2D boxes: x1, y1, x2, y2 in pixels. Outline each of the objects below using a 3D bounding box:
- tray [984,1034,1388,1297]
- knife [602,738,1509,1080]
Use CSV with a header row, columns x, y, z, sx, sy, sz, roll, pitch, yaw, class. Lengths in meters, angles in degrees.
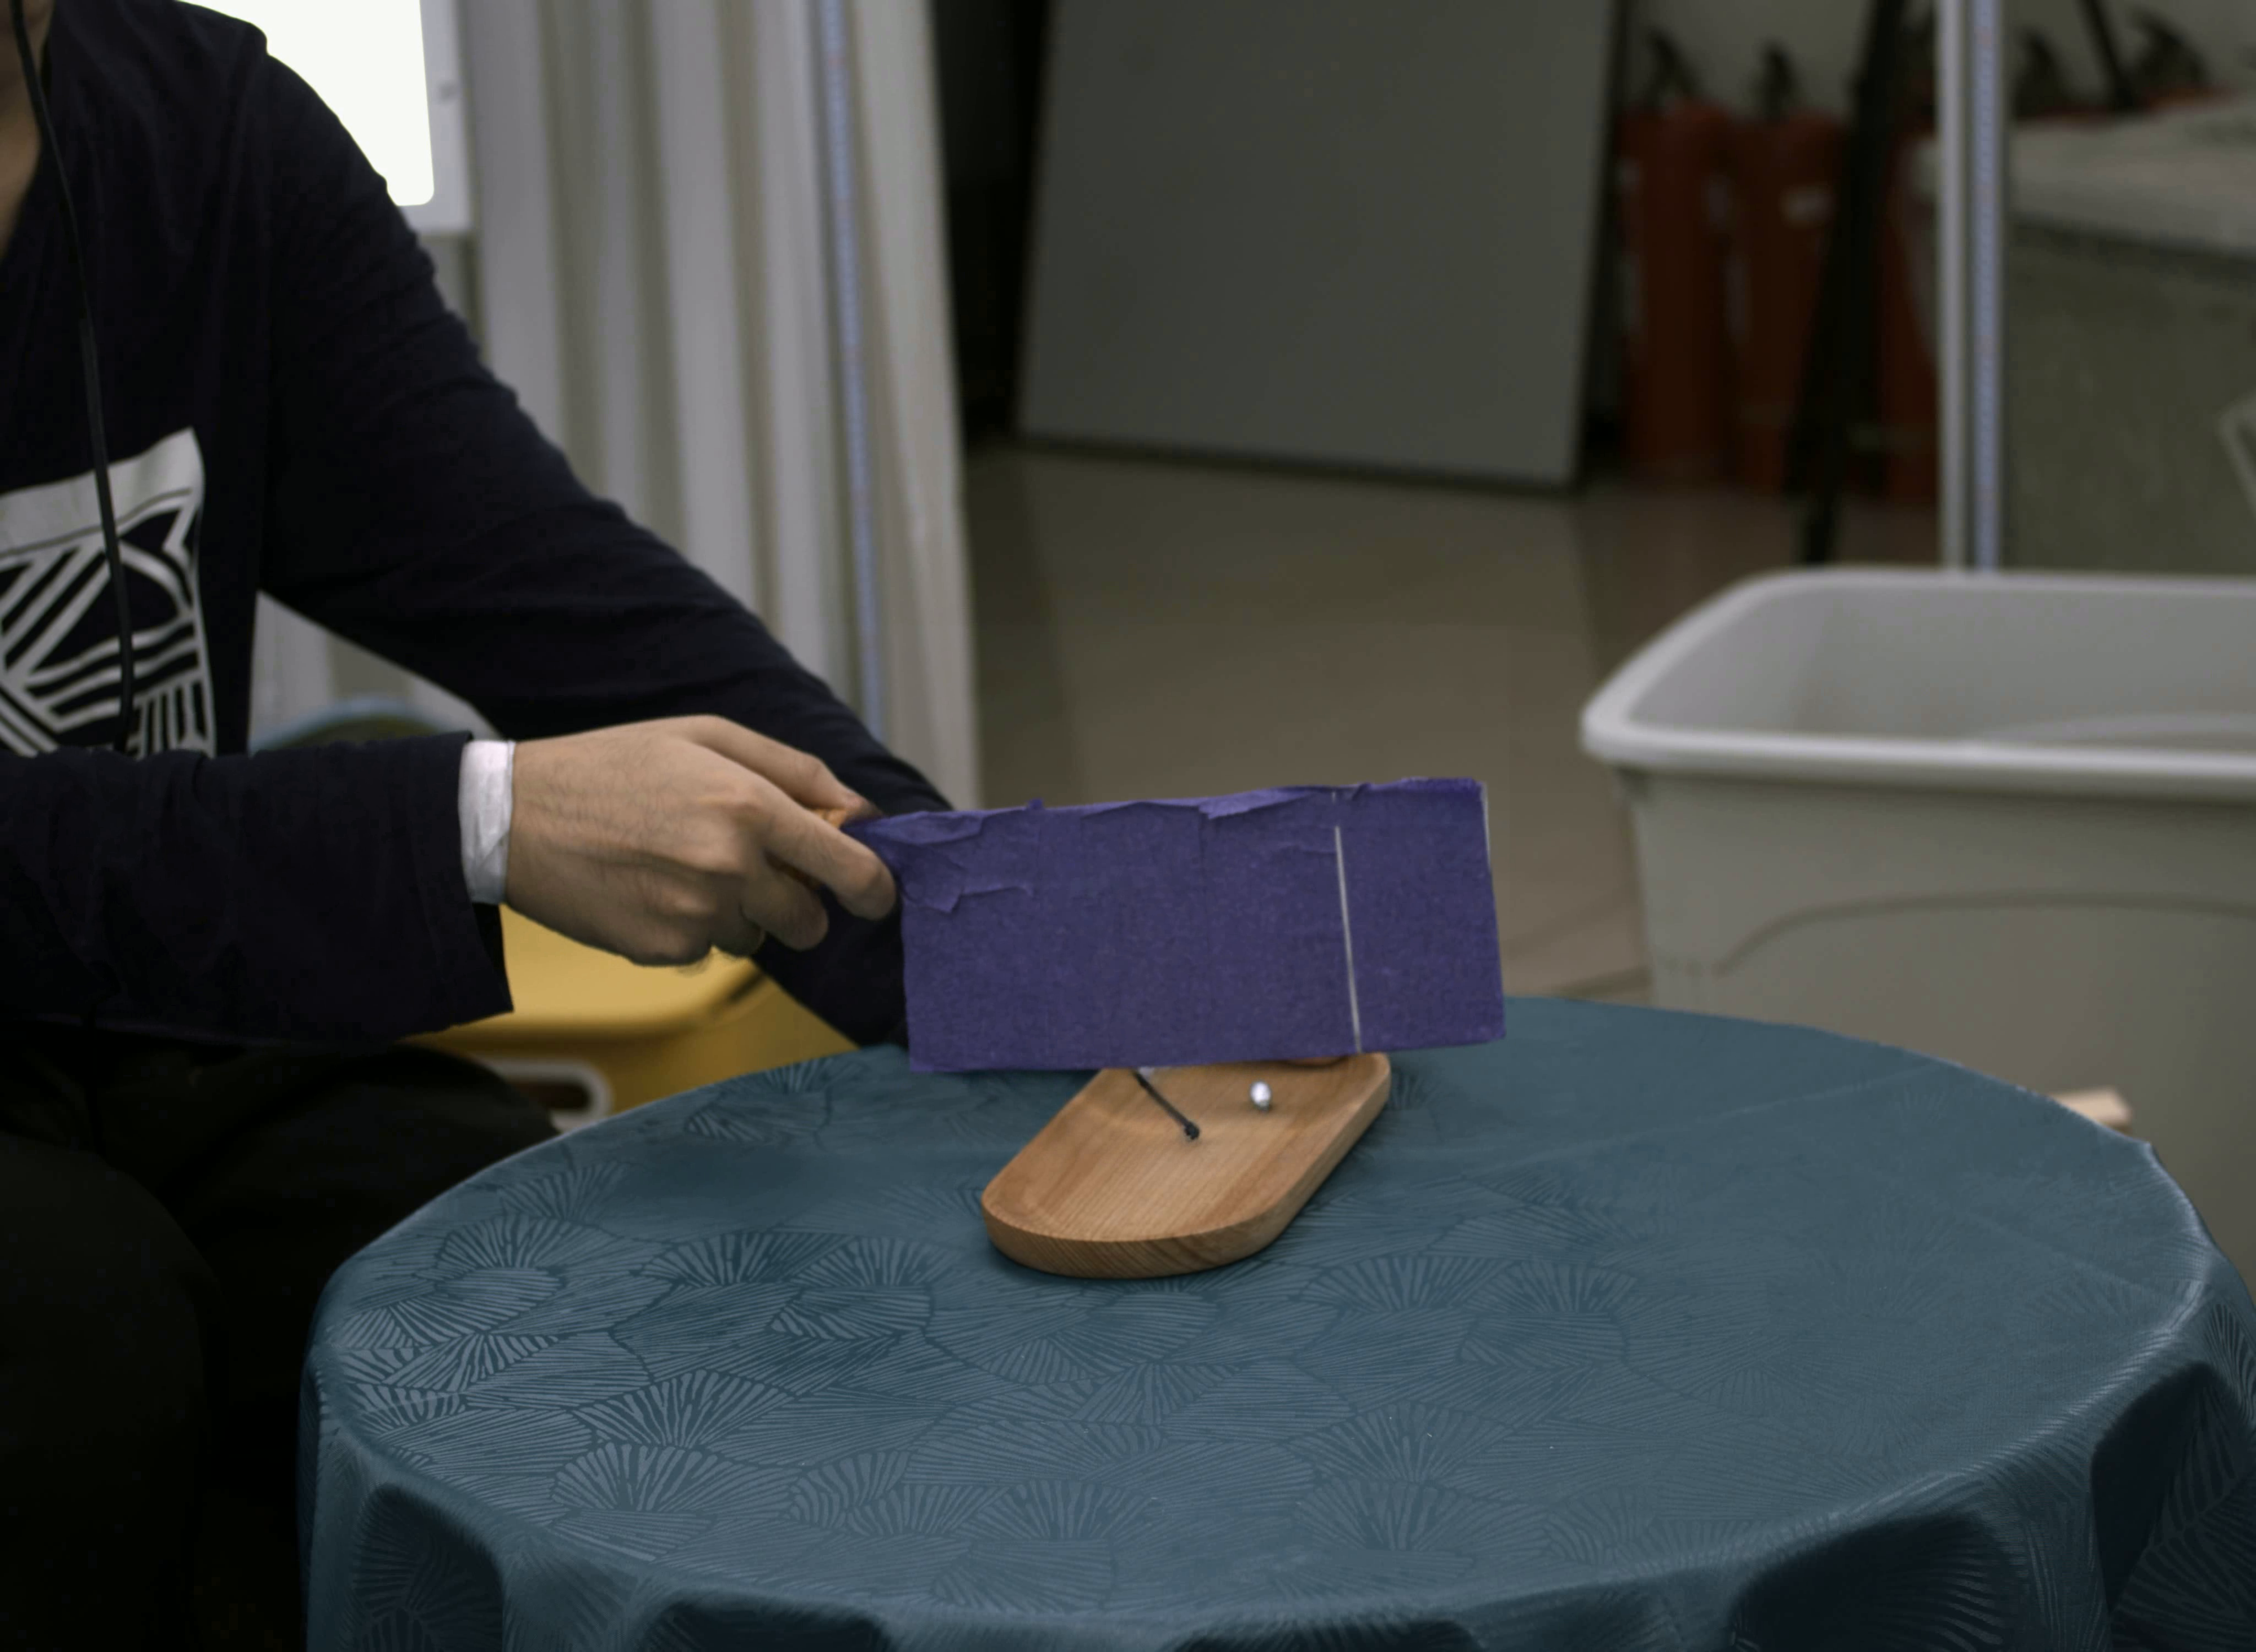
x,y,z,sx,sy,sz,roll,pitch,yaw,class
0.022,0.110,1.784,0.101,0.020,0.229,-2,16,17,tray
-0.027,0.036,1.822,0.314,0.105,0.032,-5,-4,17,knife
